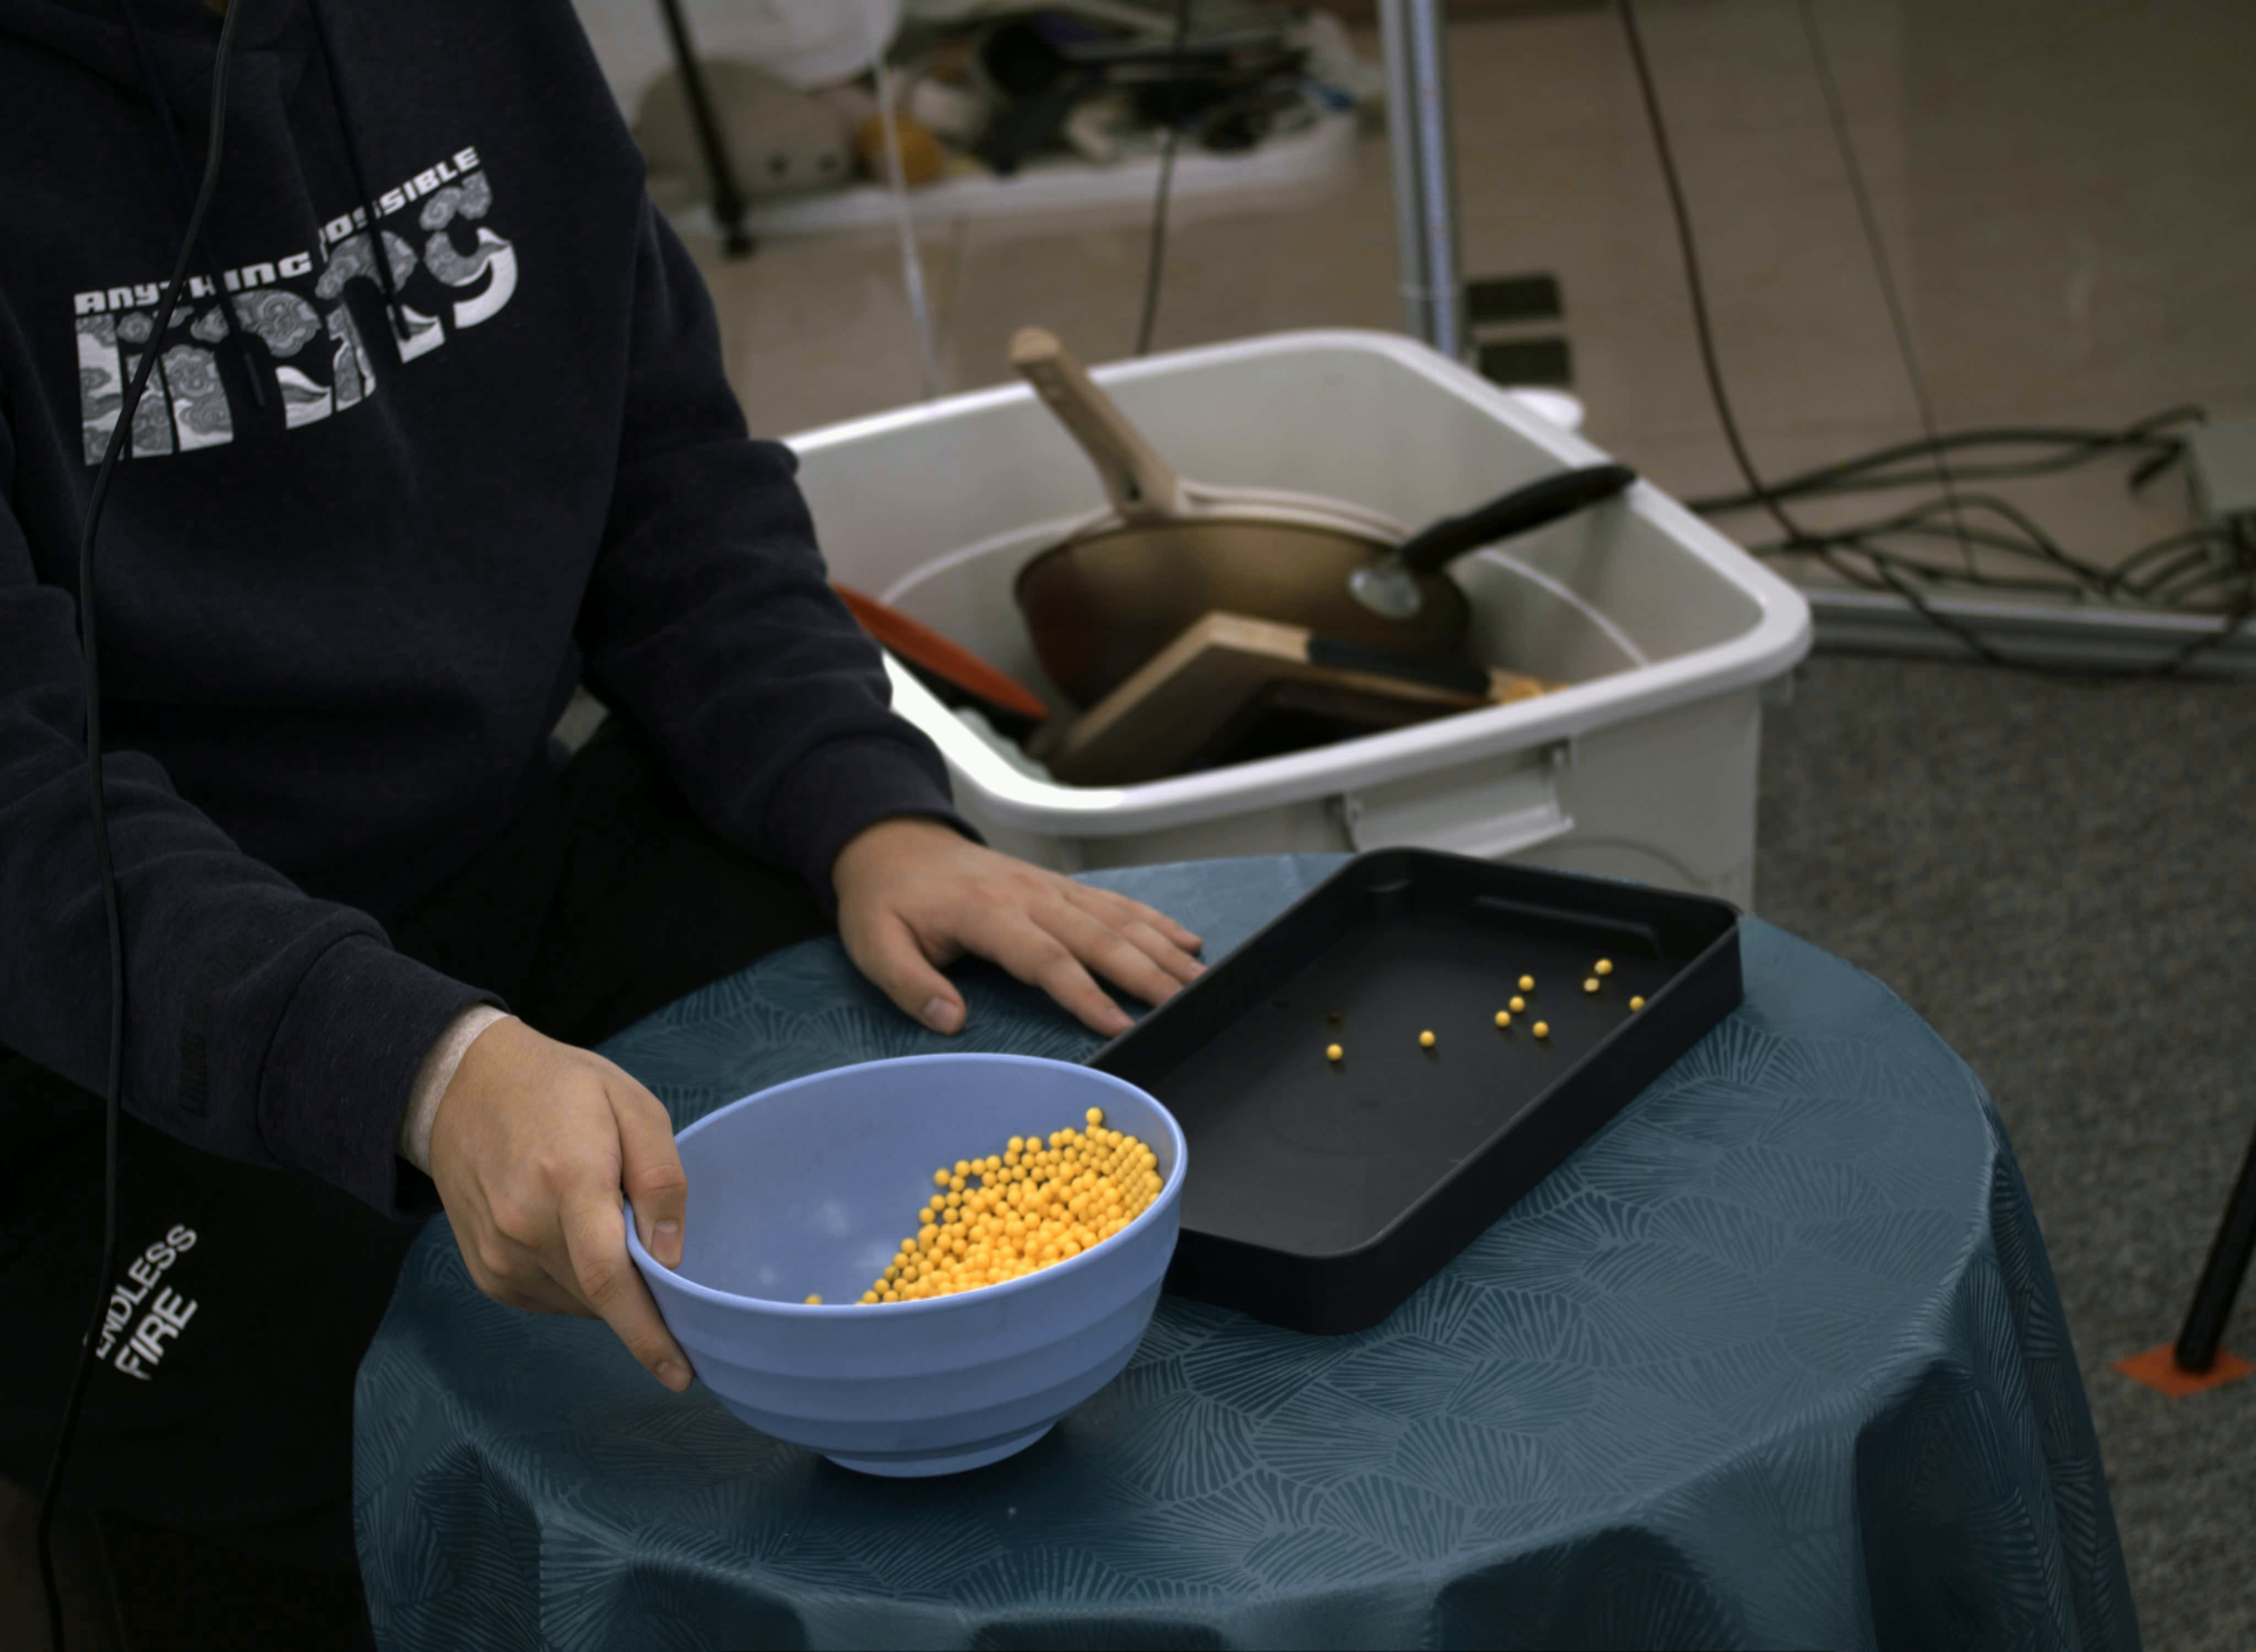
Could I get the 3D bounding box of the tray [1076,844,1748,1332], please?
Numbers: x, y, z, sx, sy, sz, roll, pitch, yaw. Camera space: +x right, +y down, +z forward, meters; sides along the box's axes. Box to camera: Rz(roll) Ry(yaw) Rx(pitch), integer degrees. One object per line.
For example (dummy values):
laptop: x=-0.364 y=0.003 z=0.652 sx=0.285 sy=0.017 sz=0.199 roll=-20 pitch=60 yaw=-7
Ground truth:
tray: x=0.091 y=0.094 z=2.177 sx=0.183 sy=0.037 sz=0.314 roll=11 pitch=29 yaw=33

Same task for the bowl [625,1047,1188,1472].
bowl: x=-0.072 y=0.162 z=1.979 sx=0.196 sy=0.097 sz=0.193 roll=-6 pitch=24 yaw=3
